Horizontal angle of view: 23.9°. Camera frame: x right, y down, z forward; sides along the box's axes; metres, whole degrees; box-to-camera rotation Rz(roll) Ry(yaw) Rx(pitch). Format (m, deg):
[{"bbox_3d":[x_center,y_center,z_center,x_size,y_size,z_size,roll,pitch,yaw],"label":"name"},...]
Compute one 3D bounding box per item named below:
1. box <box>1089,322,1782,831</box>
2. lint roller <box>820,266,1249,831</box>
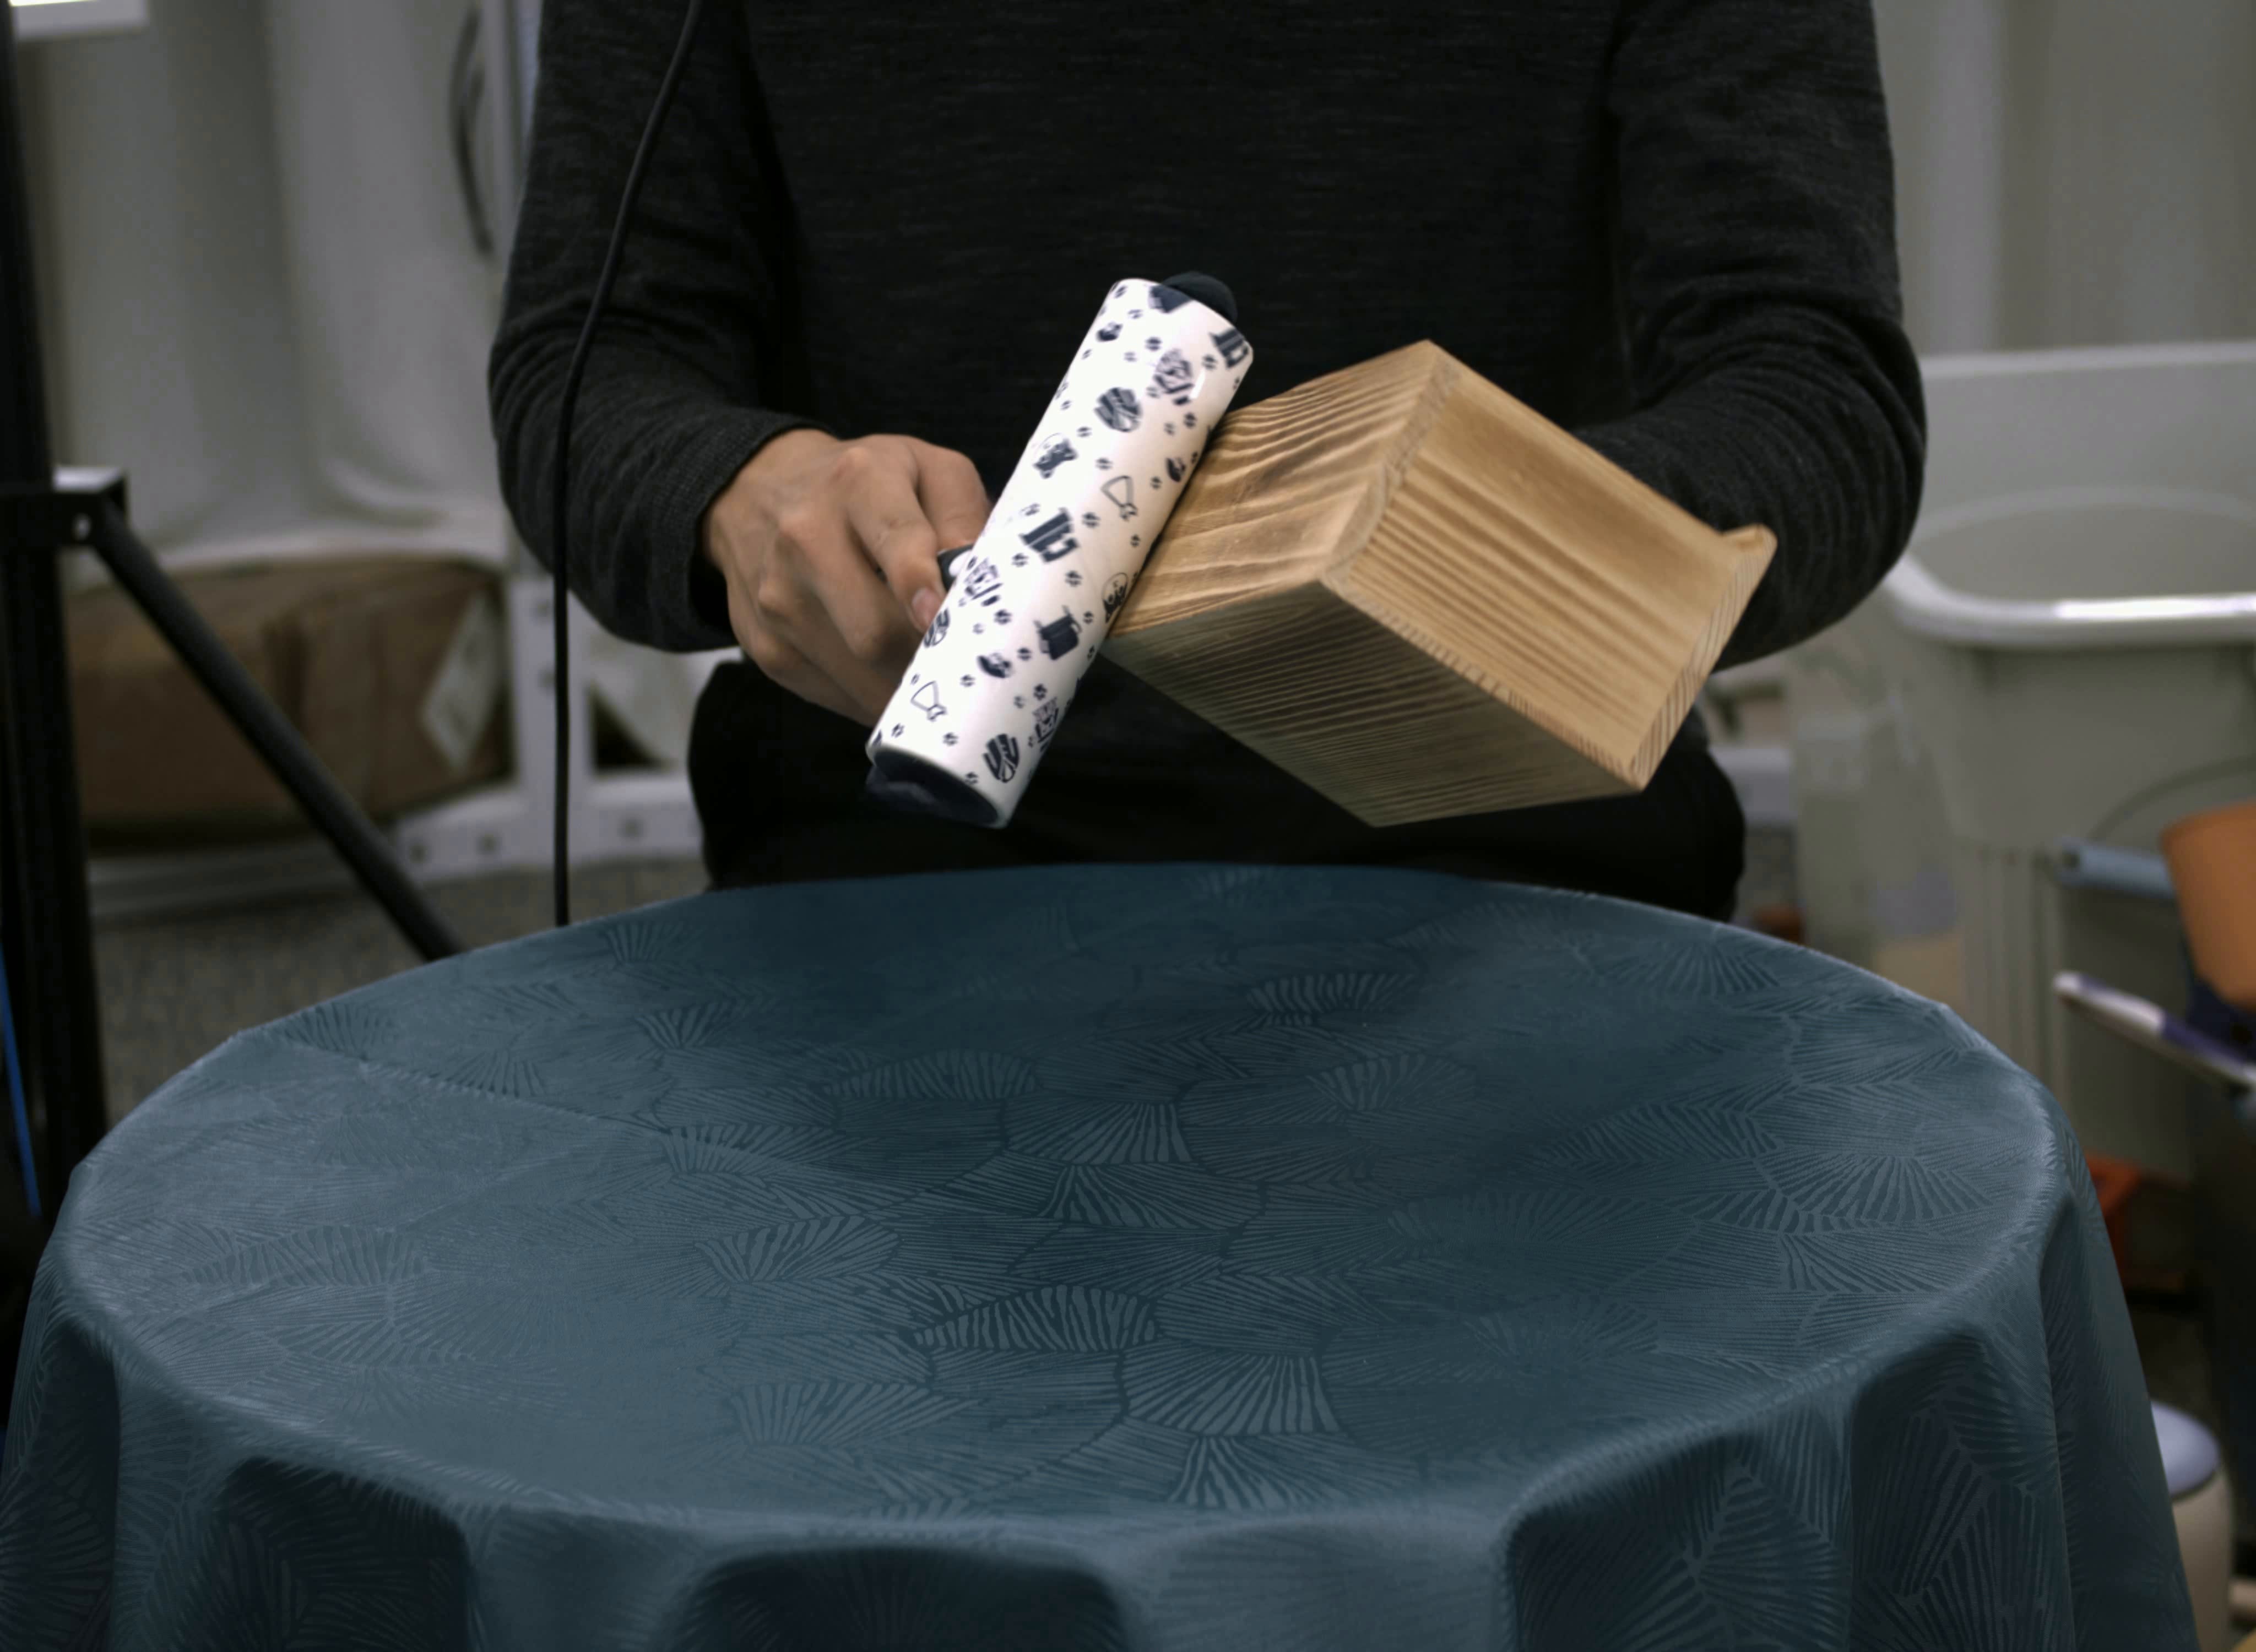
[{"bbox_3d":[0.079,-0.064,1.474,0.106,0.080,0.214,34,-12,-13],"label":"box"},{"bbox_3d":[-0.056,-0.072,1.632,0.049,0.176,0.250,32,-15,-16],"label":"lint roller"}]
